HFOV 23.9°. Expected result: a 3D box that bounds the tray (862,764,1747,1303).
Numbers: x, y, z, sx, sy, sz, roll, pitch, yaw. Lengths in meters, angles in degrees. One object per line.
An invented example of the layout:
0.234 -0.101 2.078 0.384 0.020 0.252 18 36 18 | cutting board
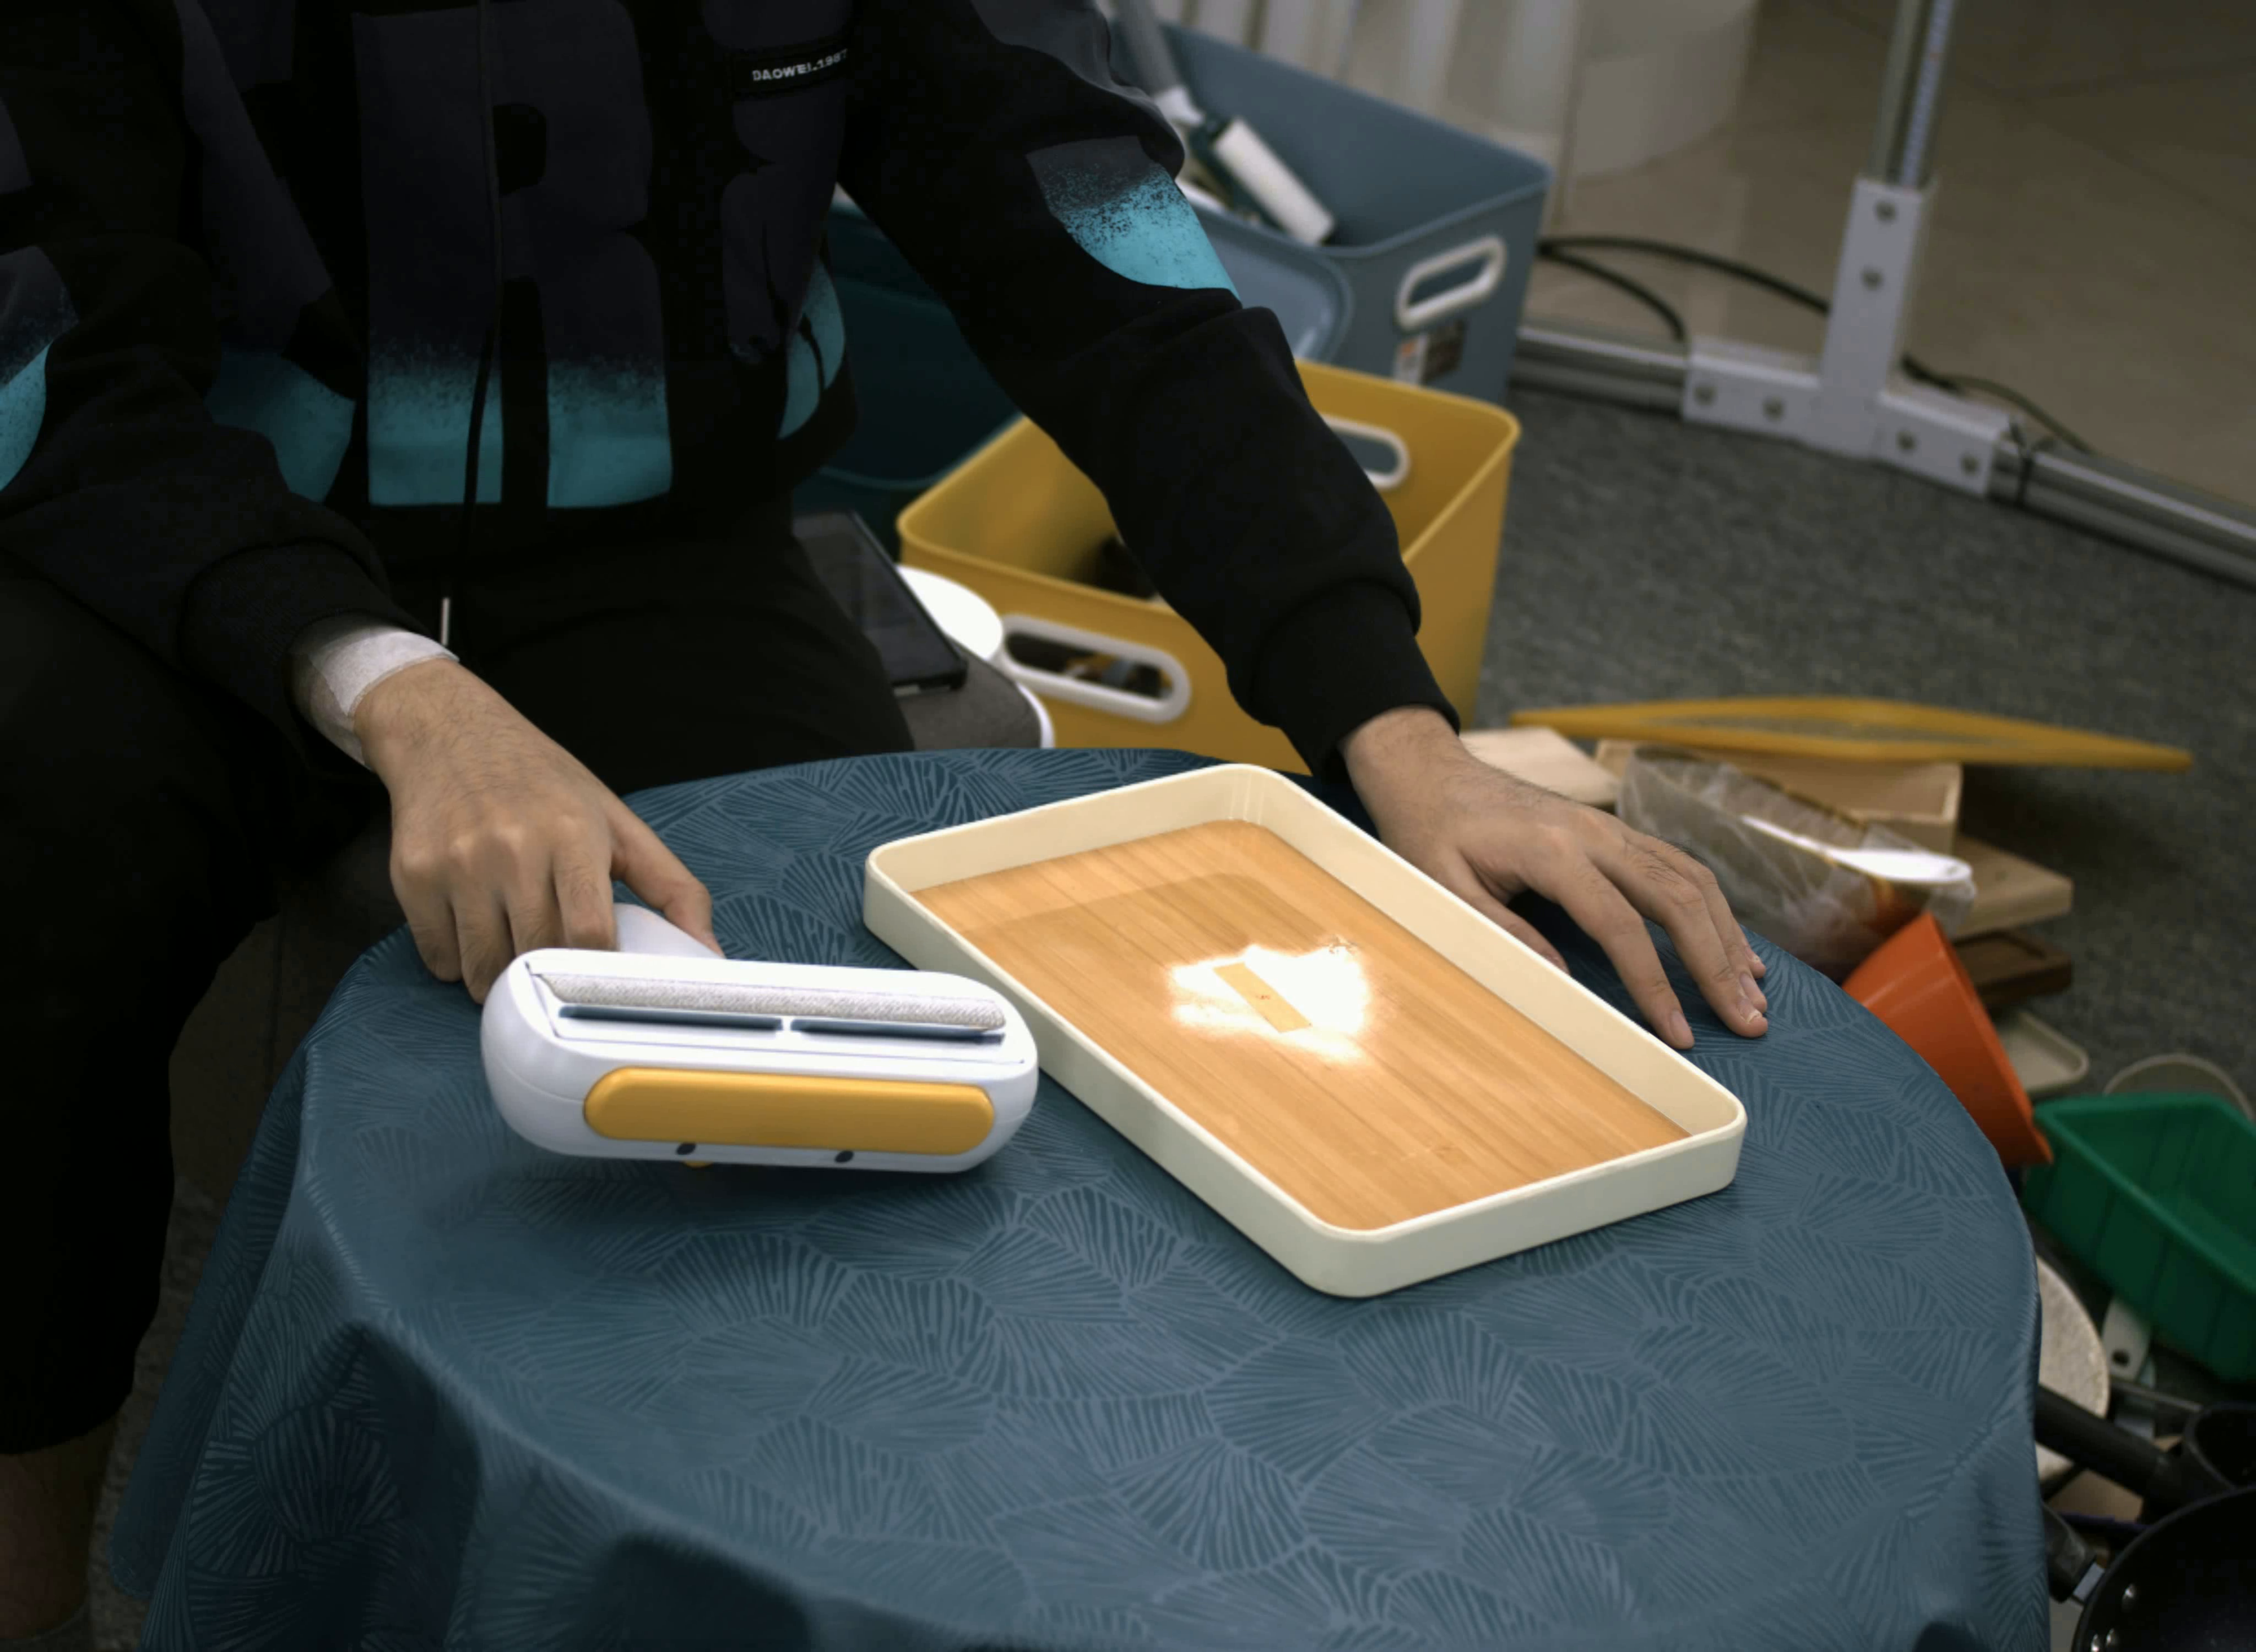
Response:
0.058 0.067 1.893 0.190 0.027 0.303 -14 33 -33 | tray

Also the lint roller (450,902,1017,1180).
-0.149 0.060 1.818 0.191 0.074 0.194 2 25 -21 | lint roller
